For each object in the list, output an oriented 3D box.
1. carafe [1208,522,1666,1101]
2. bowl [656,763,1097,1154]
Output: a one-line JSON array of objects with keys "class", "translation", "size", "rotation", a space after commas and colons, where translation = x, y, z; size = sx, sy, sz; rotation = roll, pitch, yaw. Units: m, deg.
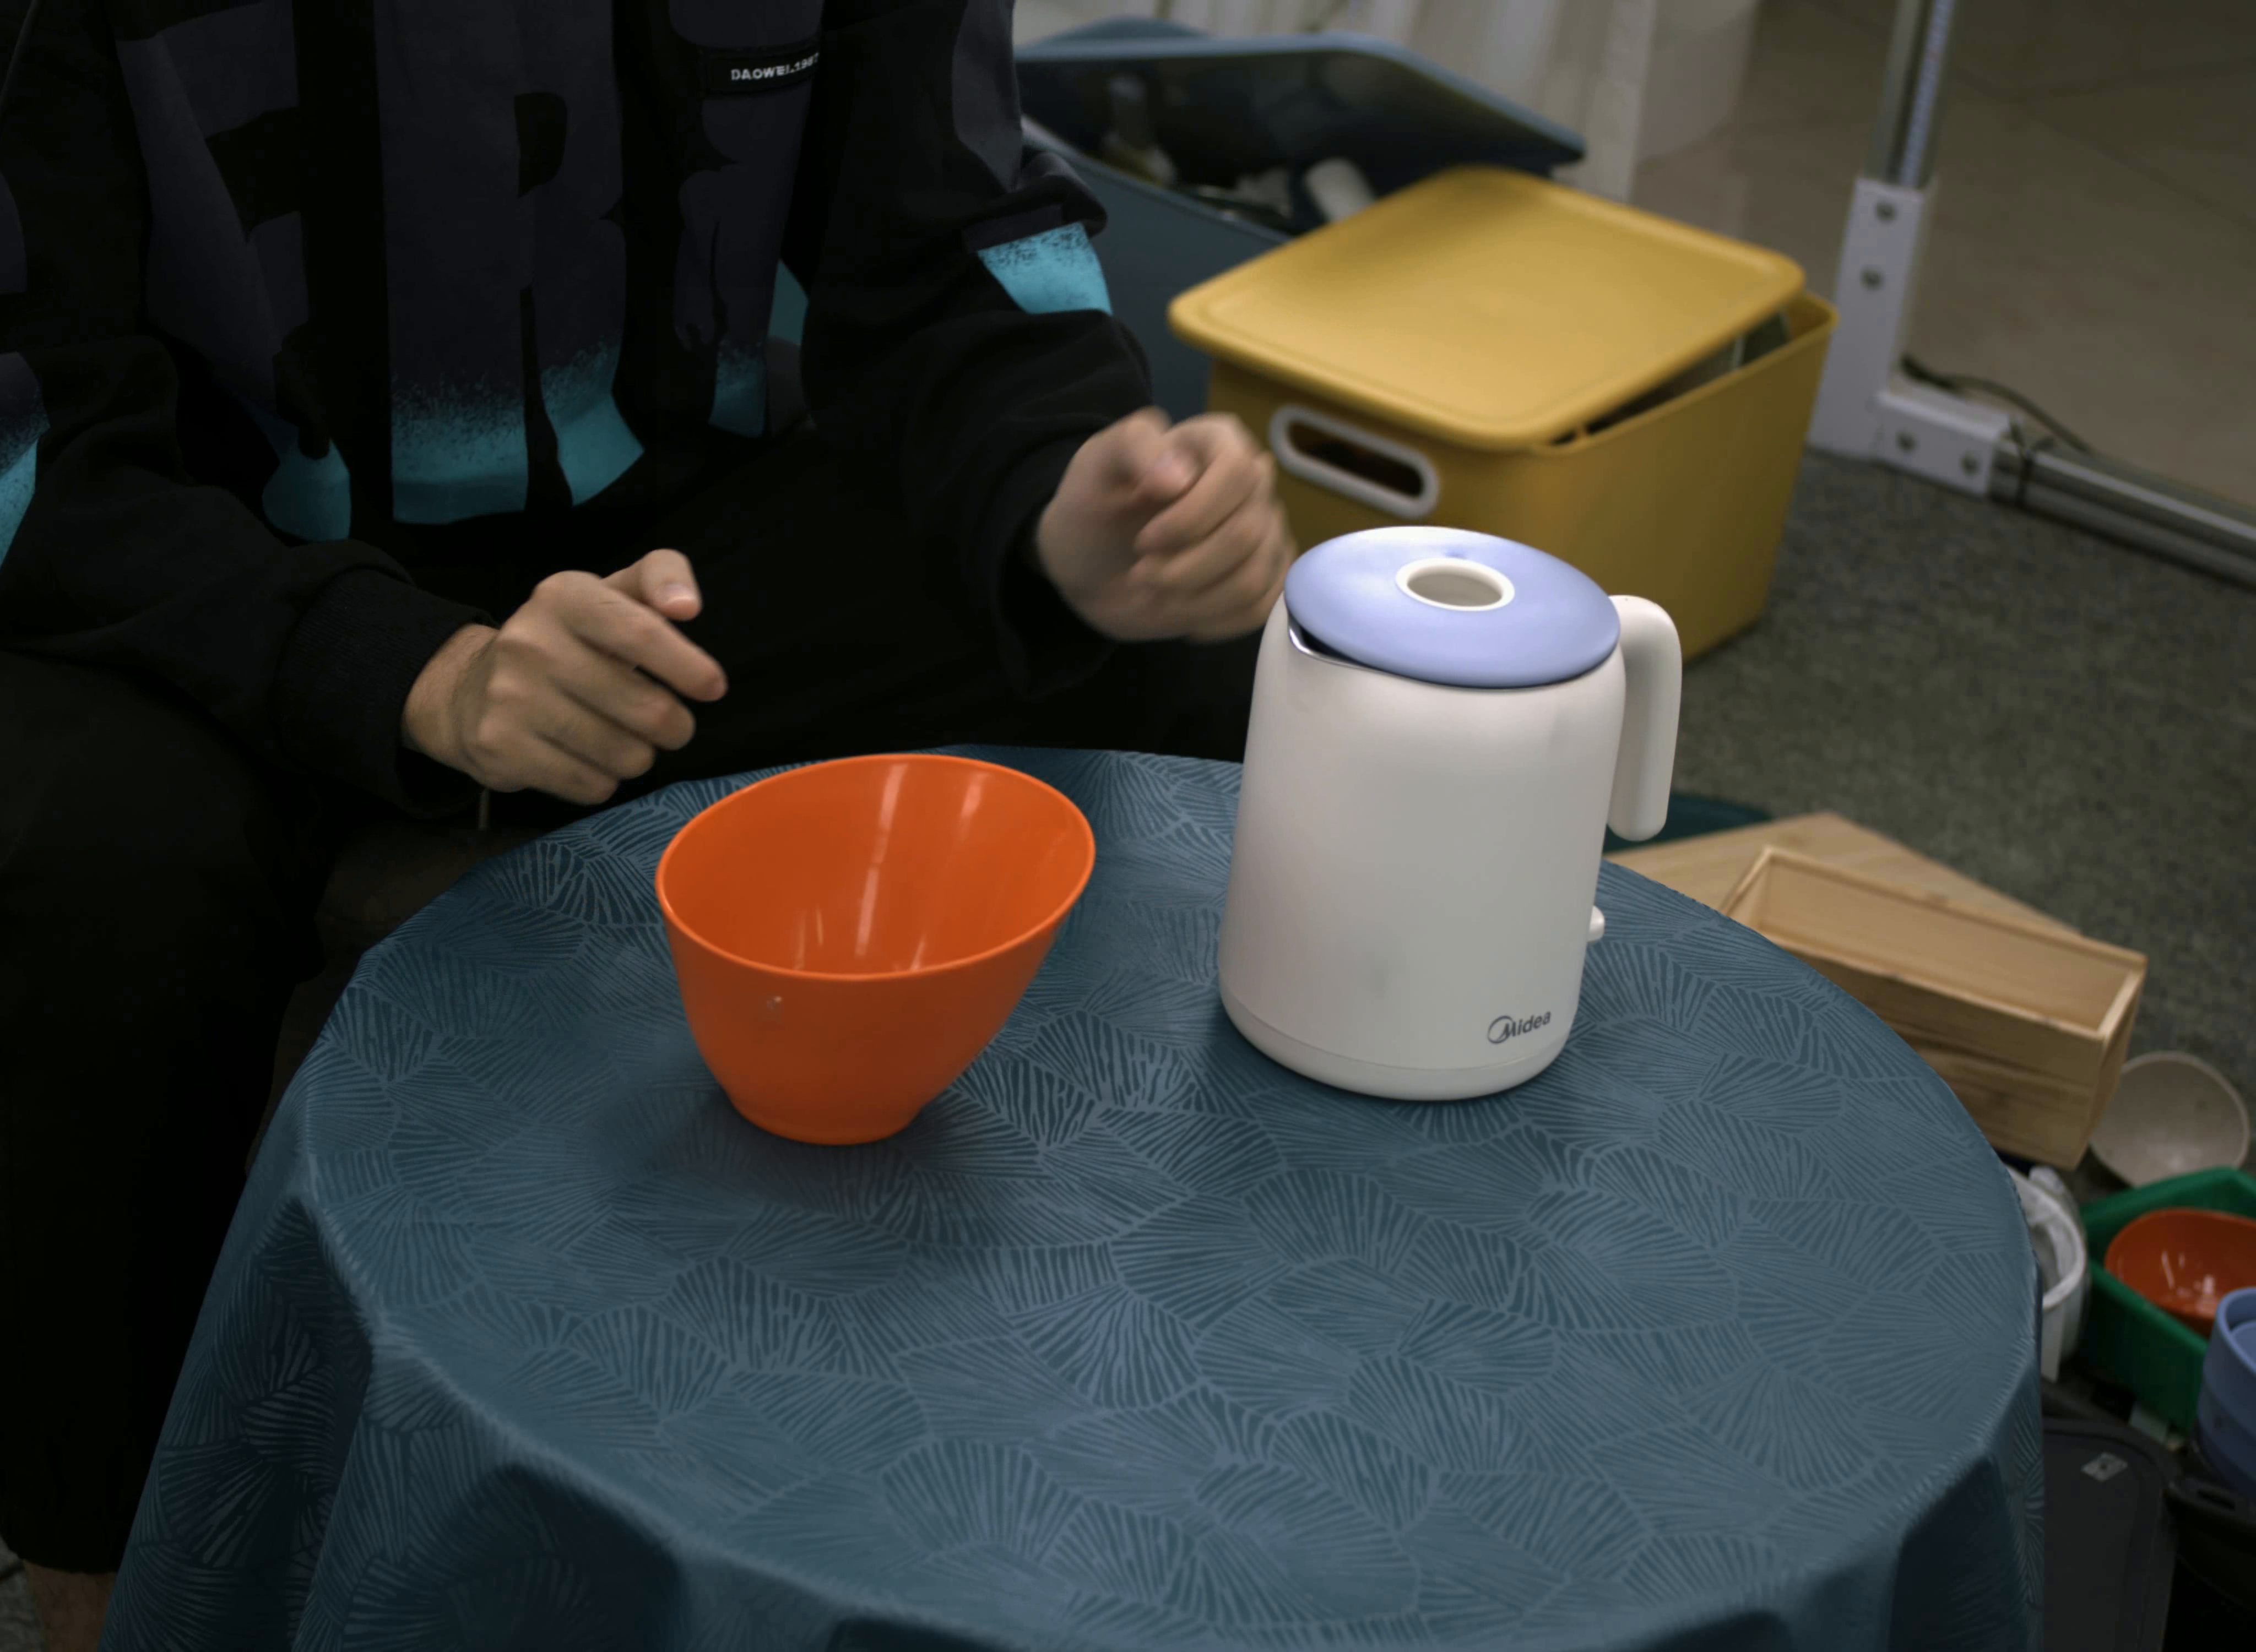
[{"class": "carafe", "translation": [0.121, -0.010, 1.901], "size": [0.190, 0.182, 0.133], "rotation": [-13, 34, -38]}, {"class": "bowl", "translation": [-0.089, 0.050, 1.813], "size": [0.147, 0.104, 0.149], "rotation": [5, 27, -3]}]
